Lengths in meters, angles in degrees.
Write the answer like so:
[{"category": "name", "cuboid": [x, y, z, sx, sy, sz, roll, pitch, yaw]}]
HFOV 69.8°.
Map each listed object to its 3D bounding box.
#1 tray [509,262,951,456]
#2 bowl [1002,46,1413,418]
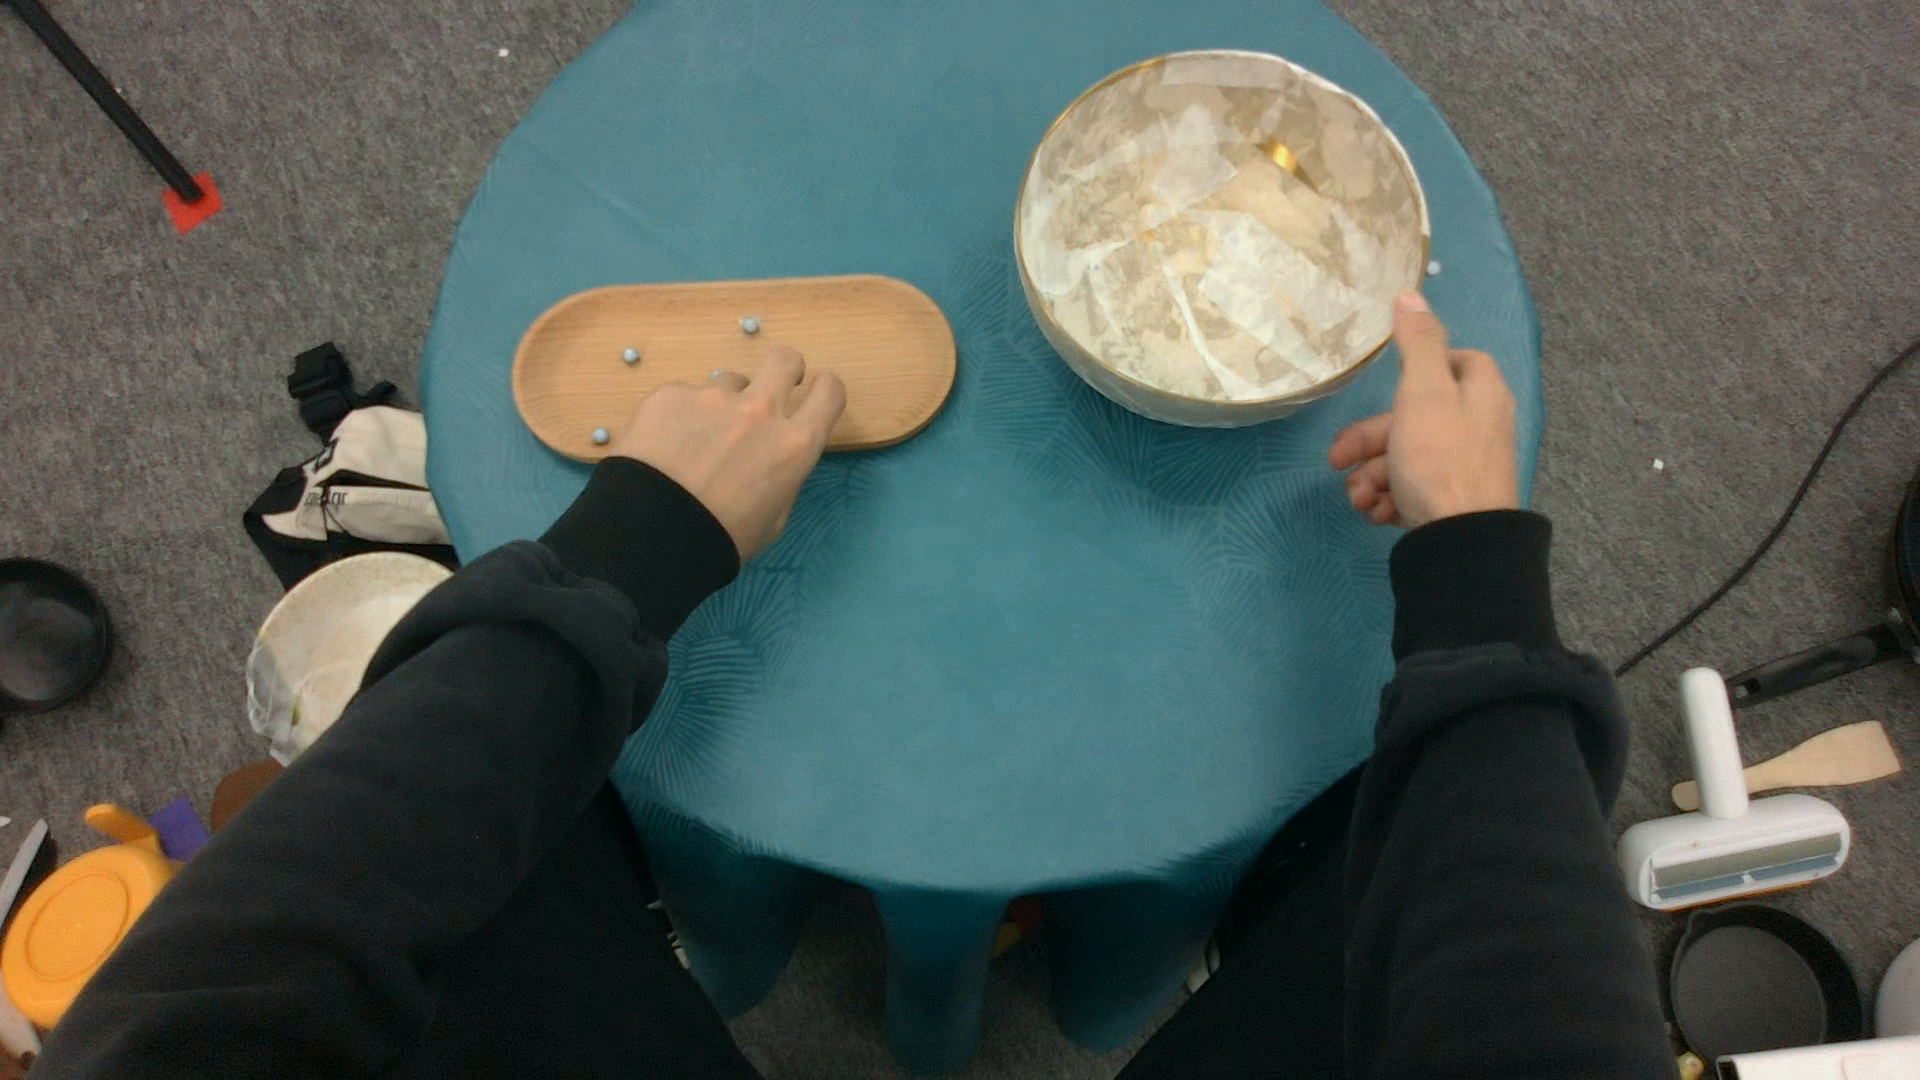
[{"category": "tray", "cuboid": [-0.120, -0.096, 0.729, 0.231, 0.020, 0.102, -4, 71, -5]}, {"category": "bowl", "cuboid": [0.117, -0.144, 0.713, 0.215, 0.094, 0.215, 1, 69, -2]}]
